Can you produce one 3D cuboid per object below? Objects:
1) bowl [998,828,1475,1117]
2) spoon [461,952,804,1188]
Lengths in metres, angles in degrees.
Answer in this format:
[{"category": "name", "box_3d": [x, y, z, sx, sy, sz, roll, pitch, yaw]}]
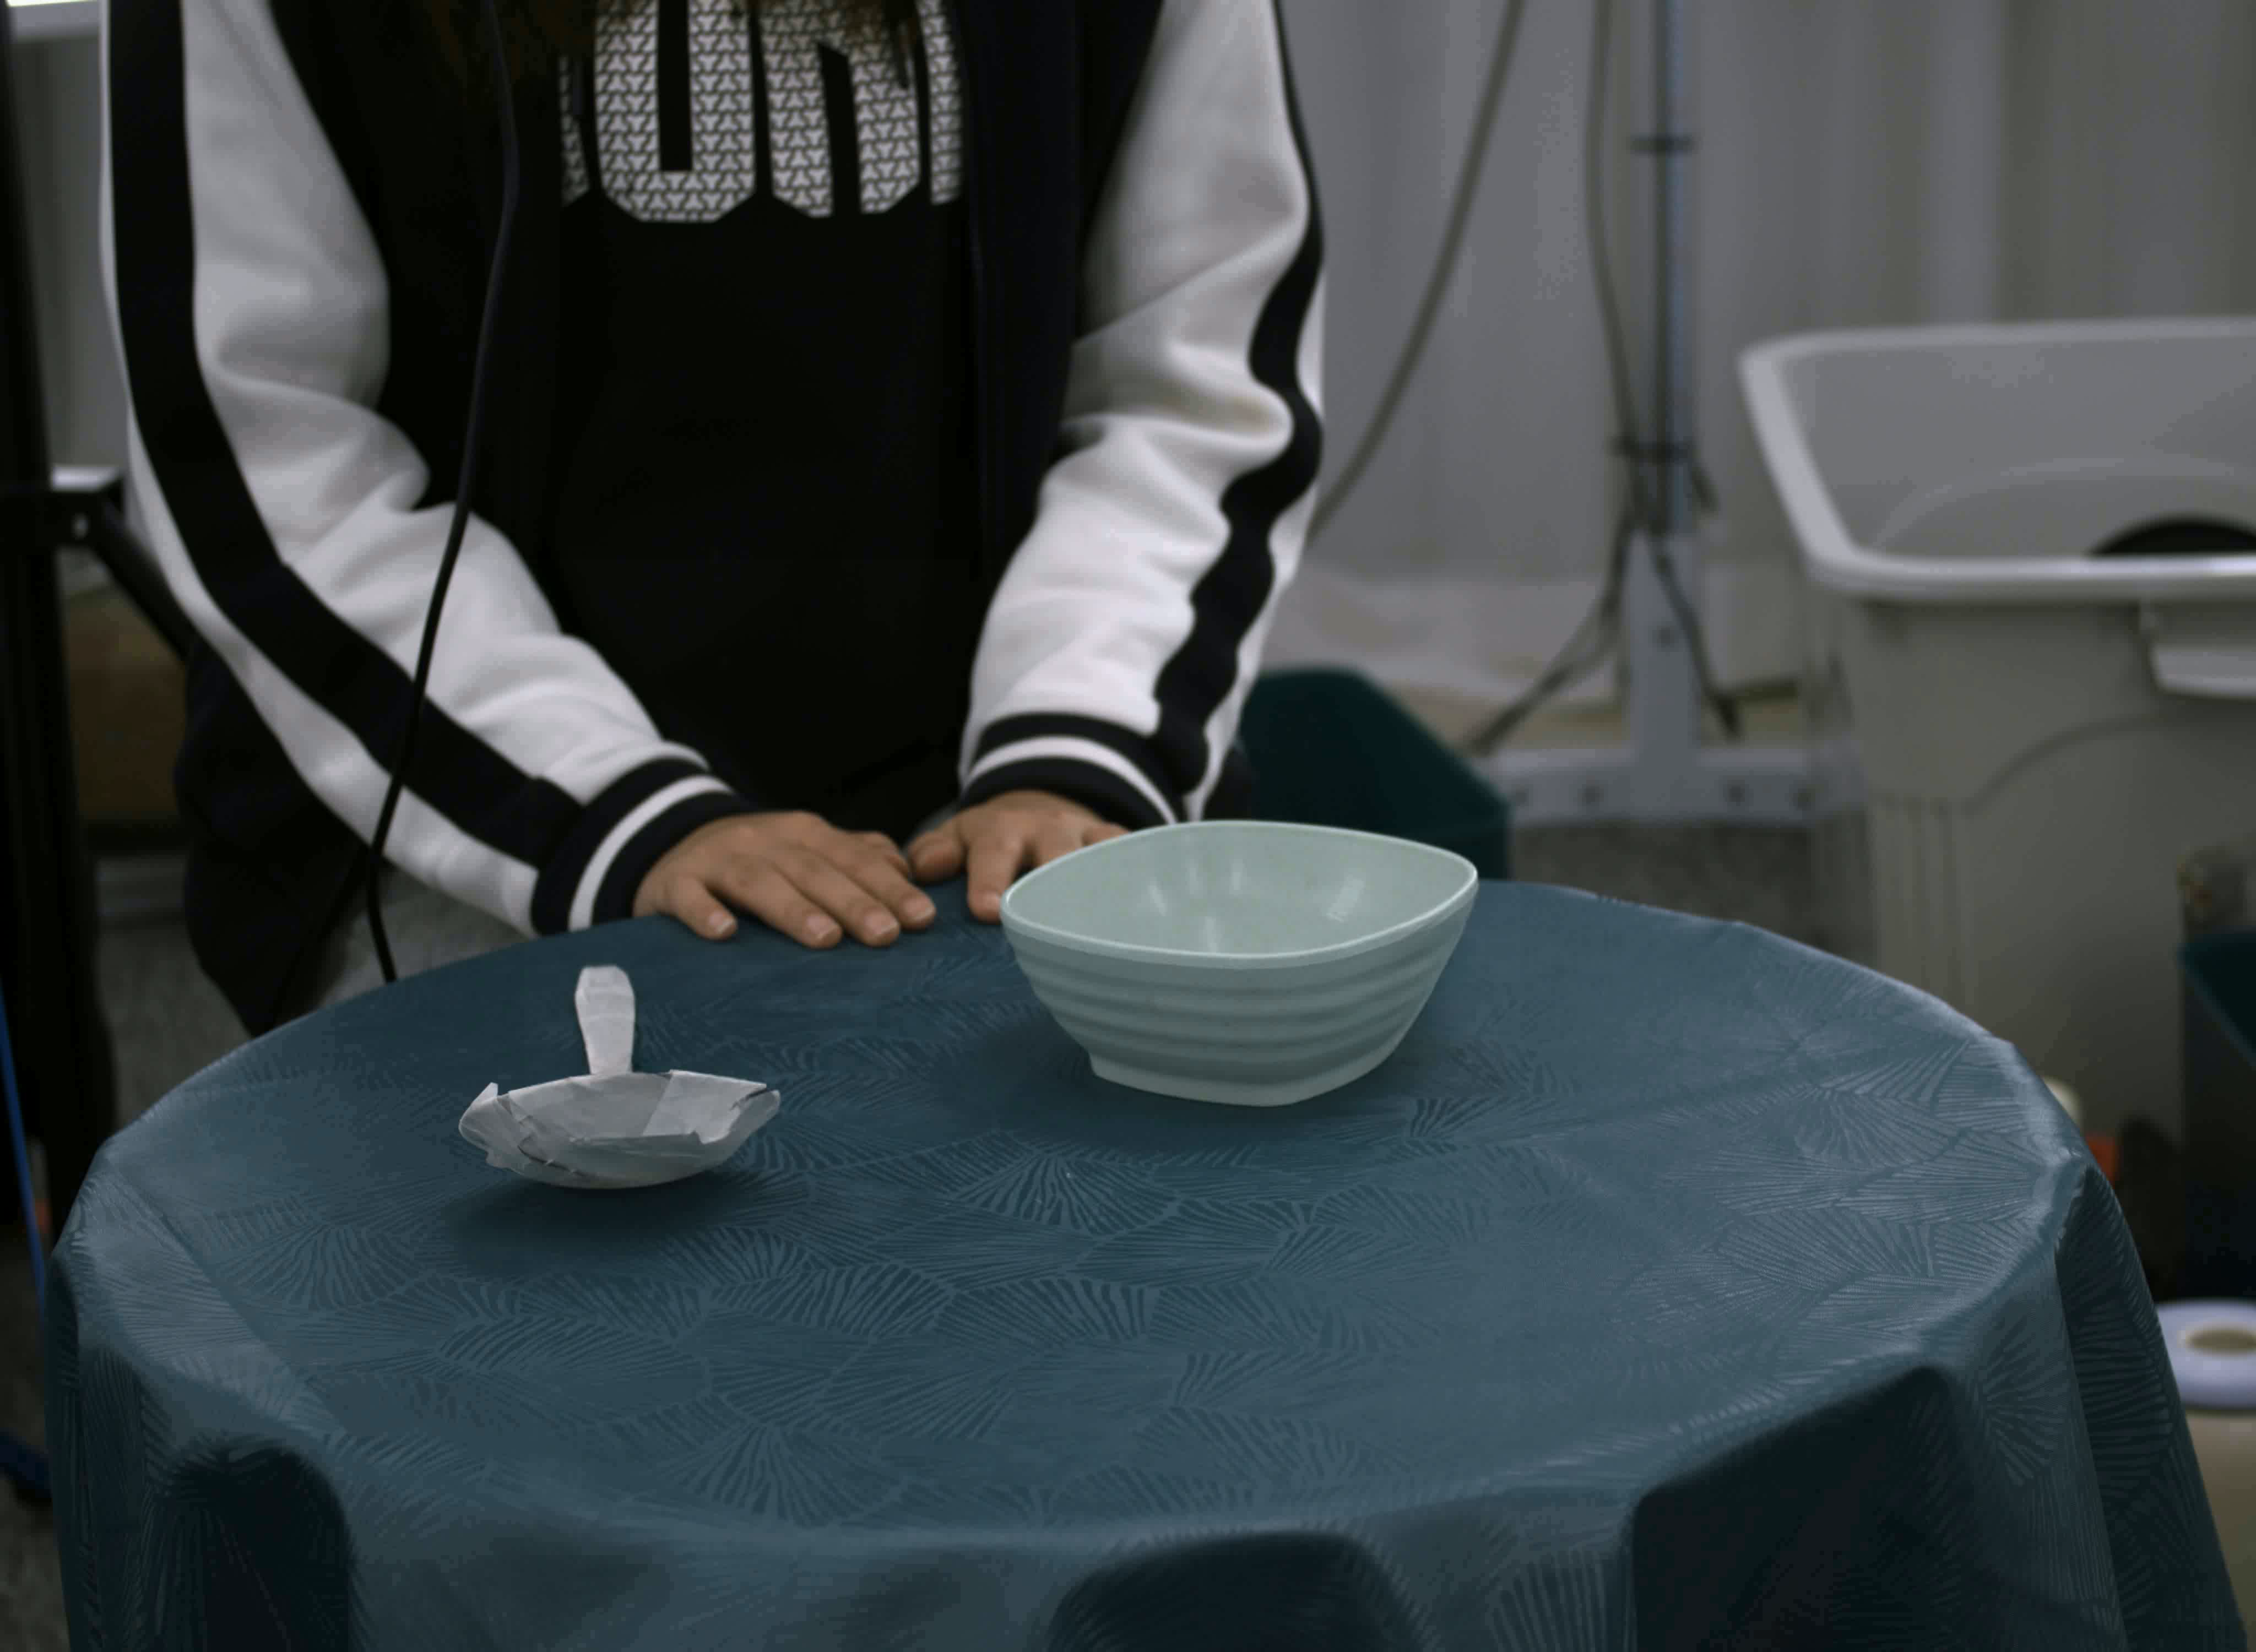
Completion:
[{"category": "bowl", "box_3d": [0.035, 0.049, 1.665, 0.150, 0.058, 0.152, -2, 16, -1]}, {"category": "spoon", "box_3d": [-0.151, 0.058, 1.655, 0.100, 0.059, 0.279, 2, 16, -4]}]
